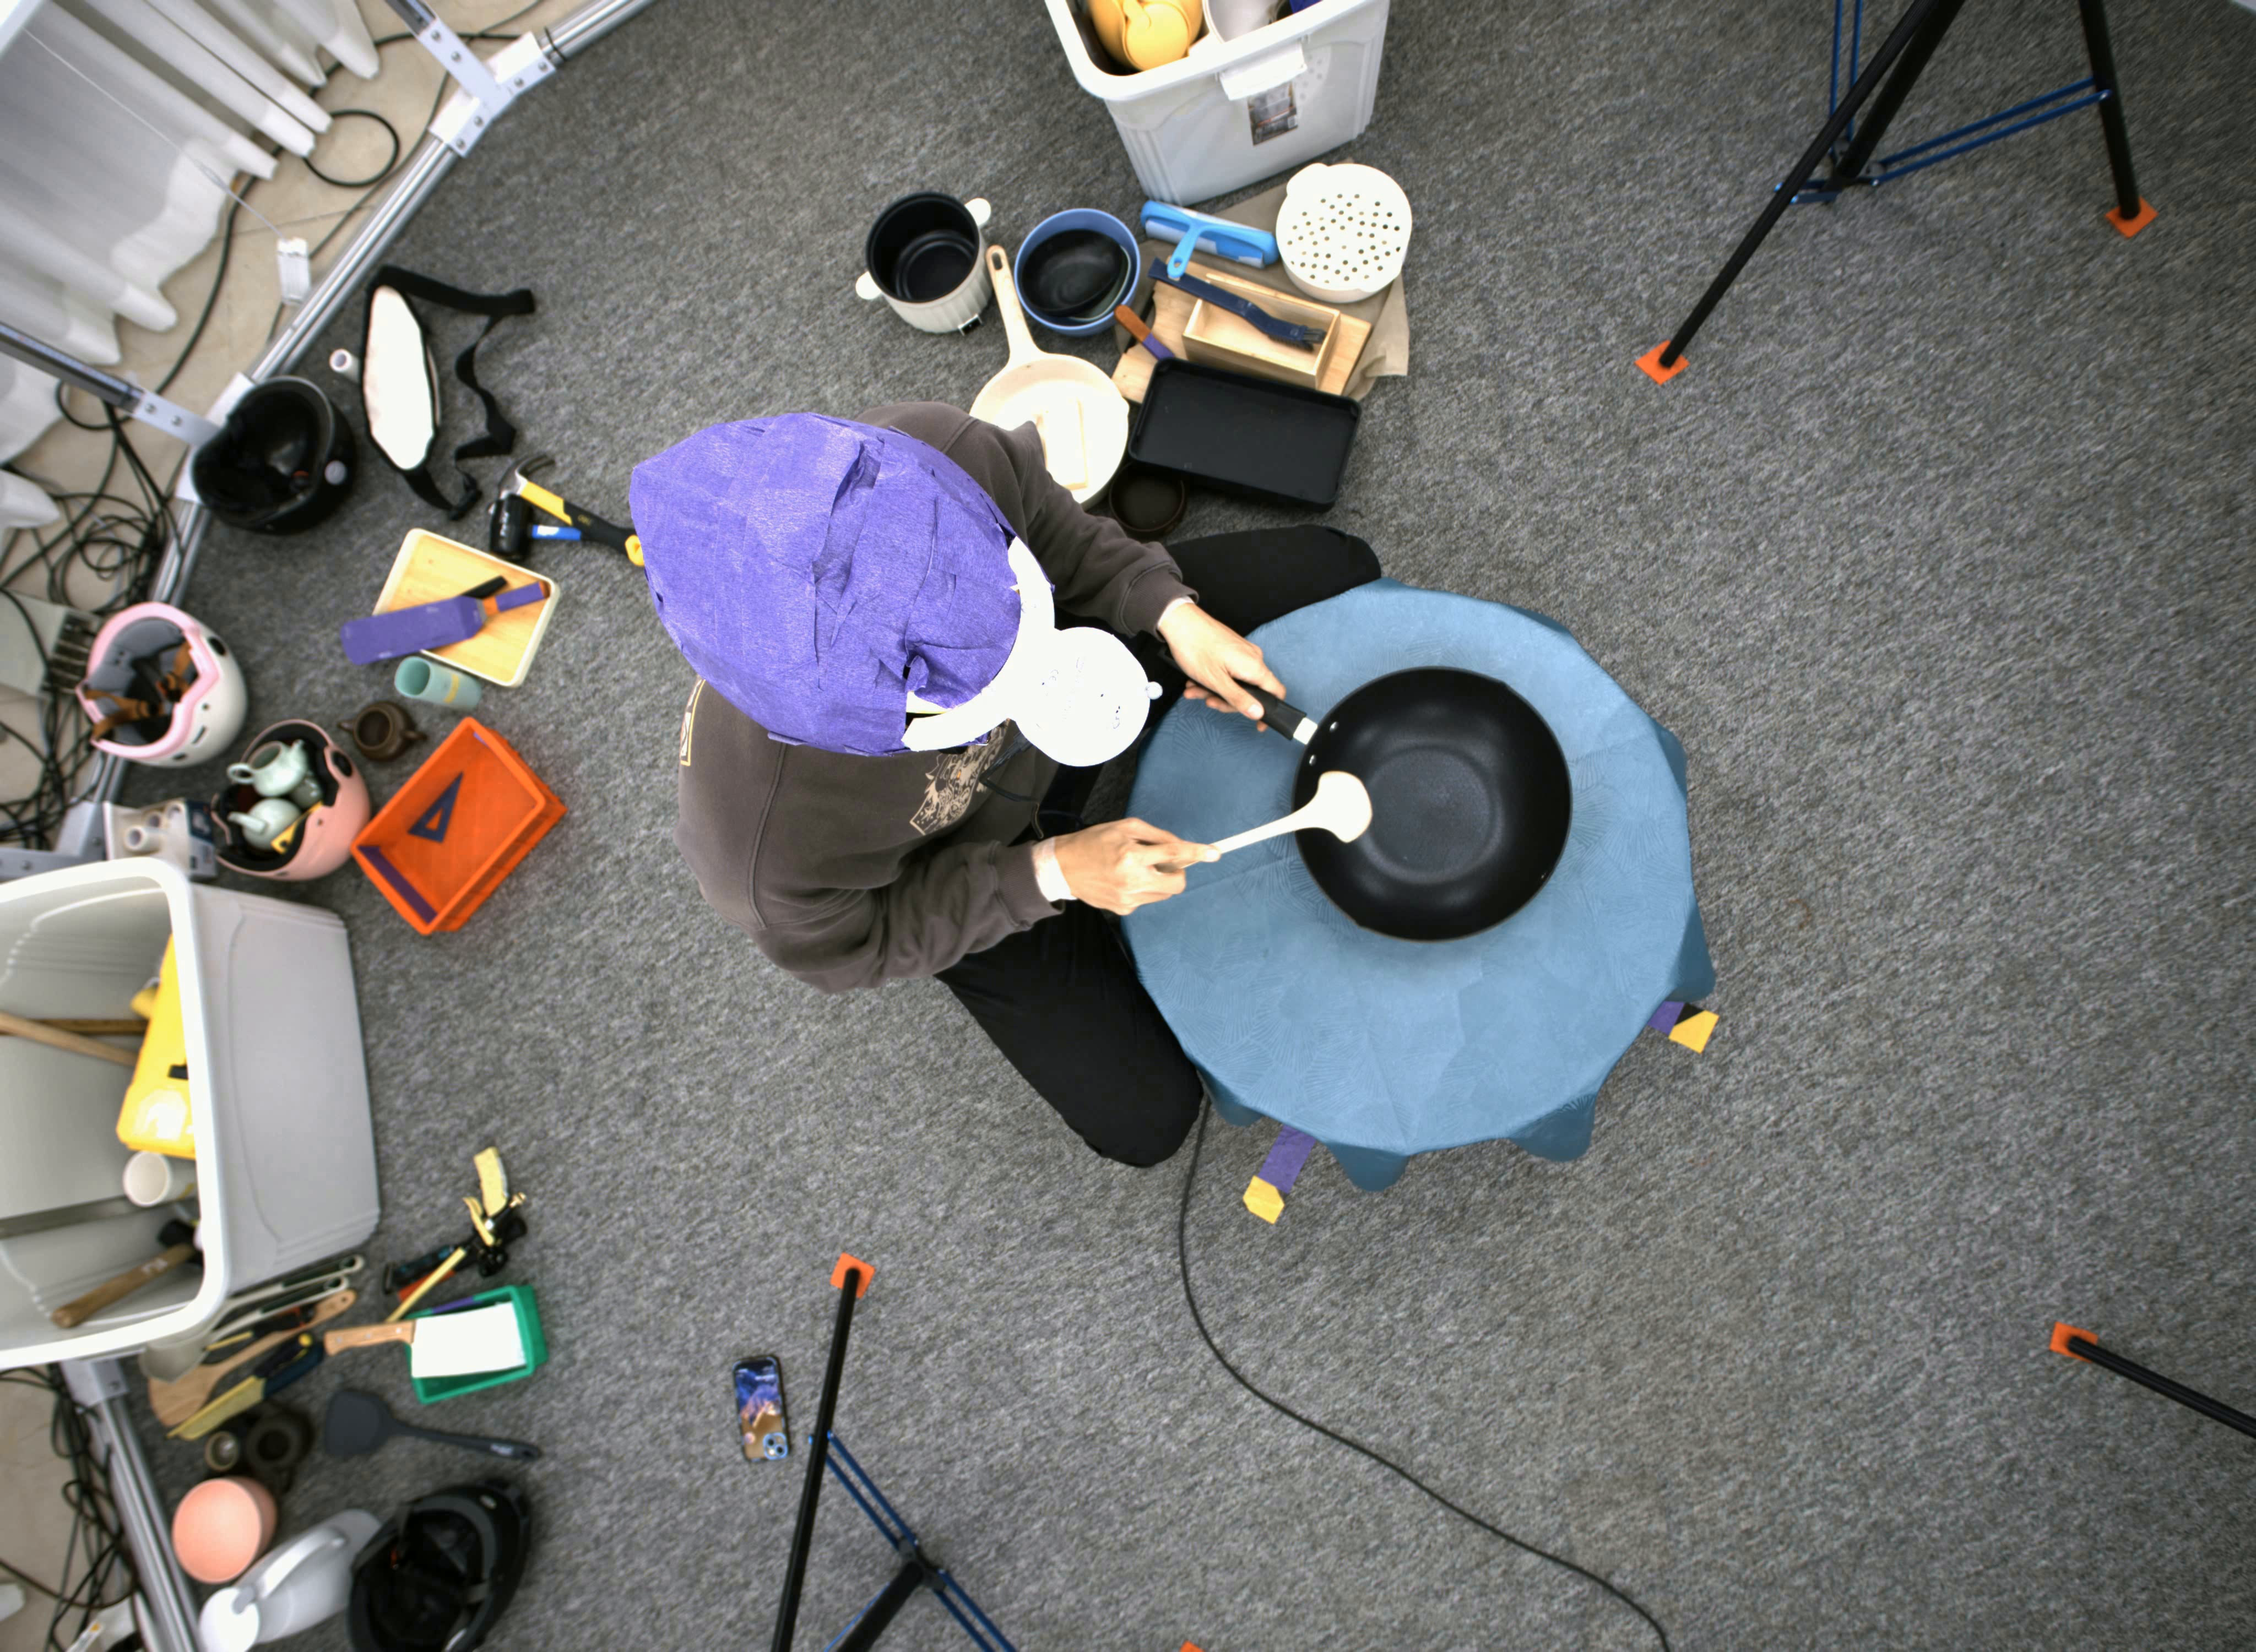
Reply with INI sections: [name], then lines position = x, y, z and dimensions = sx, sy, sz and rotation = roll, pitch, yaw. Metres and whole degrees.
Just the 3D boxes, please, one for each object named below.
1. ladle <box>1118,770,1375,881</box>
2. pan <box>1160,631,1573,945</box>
[ladle]
position = 0.116, 0.008, 1.364
dimensions = 0.256, 0.072, 0.072
rotation = -17, 91, 8
[pan]
position = 0.232, -0.066, 1.429
dimensions = 0.462, 0.087, 0.289
rotation = 32, 93, 12
